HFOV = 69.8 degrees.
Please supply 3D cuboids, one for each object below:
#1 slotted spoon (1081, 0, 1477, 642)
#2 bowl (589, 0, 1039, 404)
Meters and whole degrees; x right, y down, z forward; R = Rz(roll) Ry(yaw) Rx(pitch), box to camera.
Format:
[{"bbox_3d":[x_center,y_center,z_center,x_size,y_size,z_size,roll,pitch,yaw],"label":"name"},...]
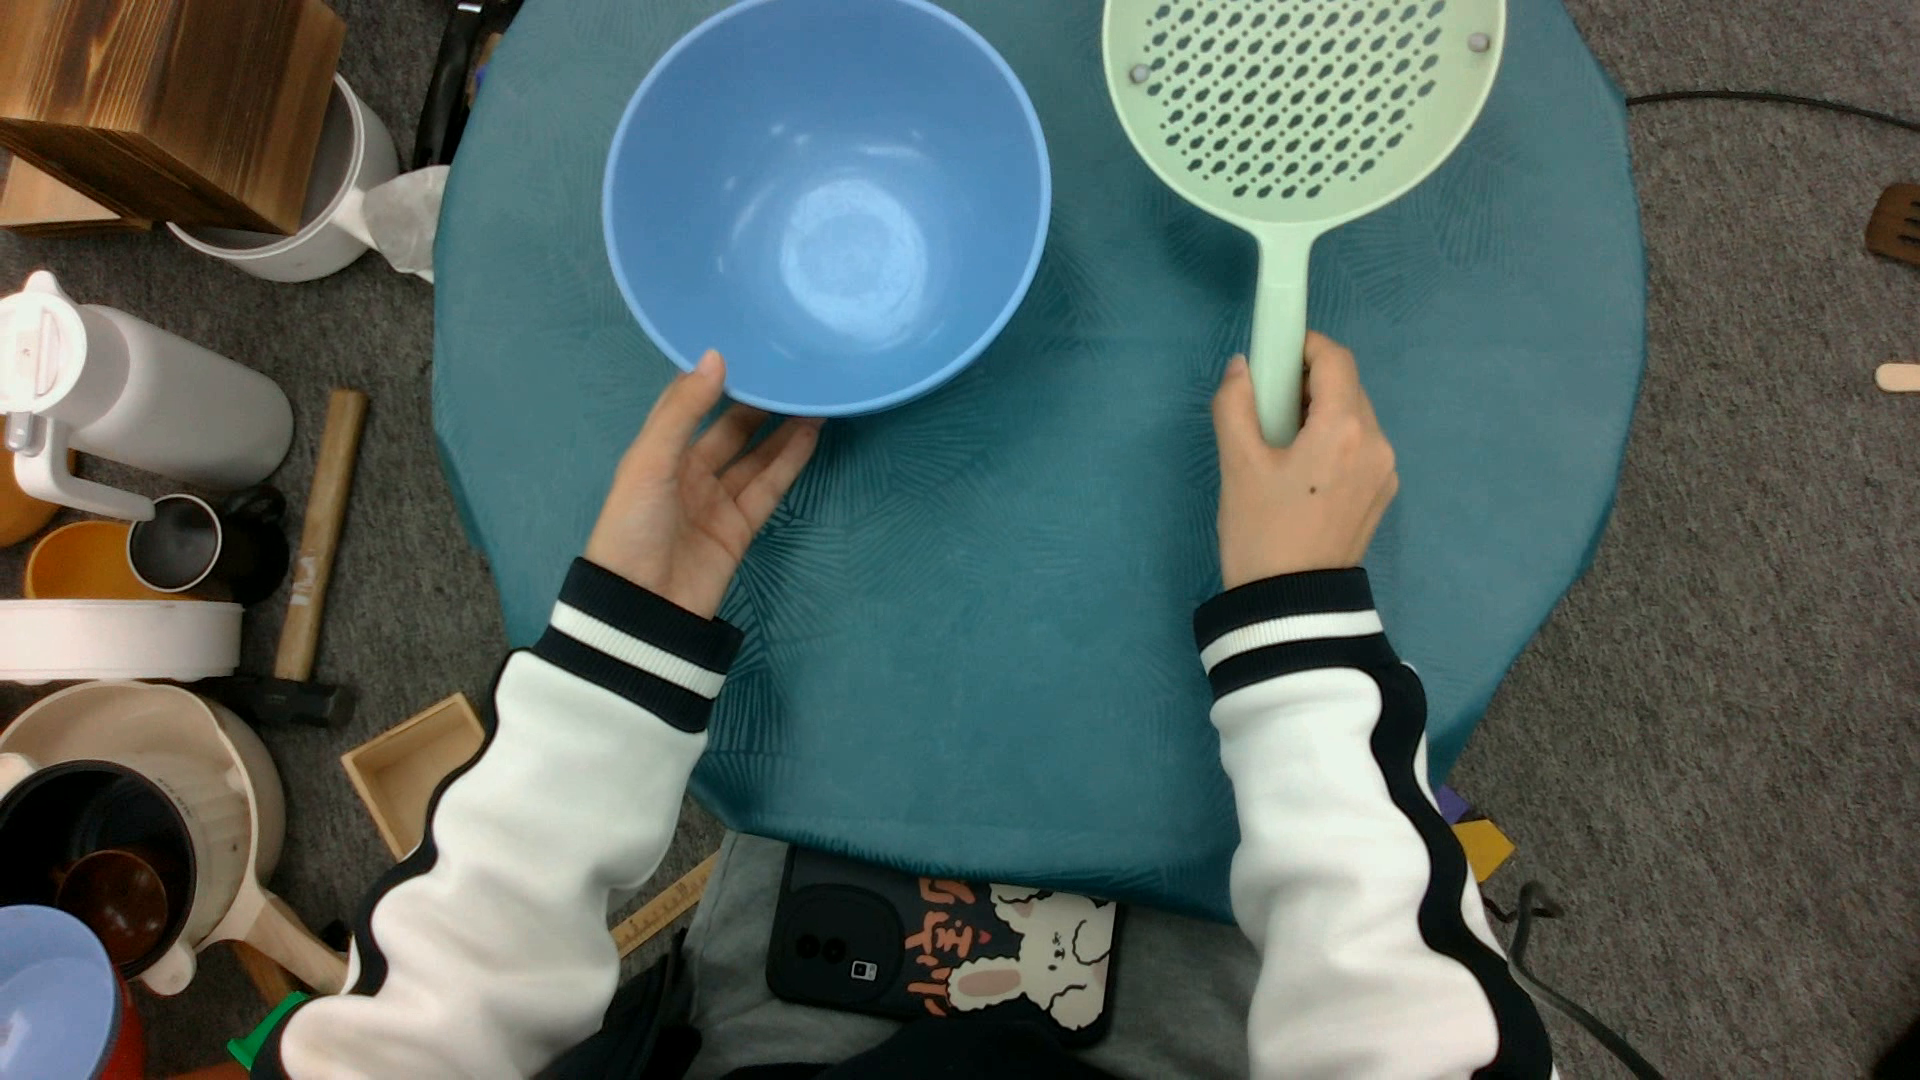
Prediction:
[{"bbox_3d":[0.136,-0.132,0.620,0.169,0.075,0.359,3,88,9],"label":"slotted spoon"},{"bbox_3d":[-0.062,-0.149,0.642,0.196,0.095,0.196,0,82,3],"label":"bowl"}]
